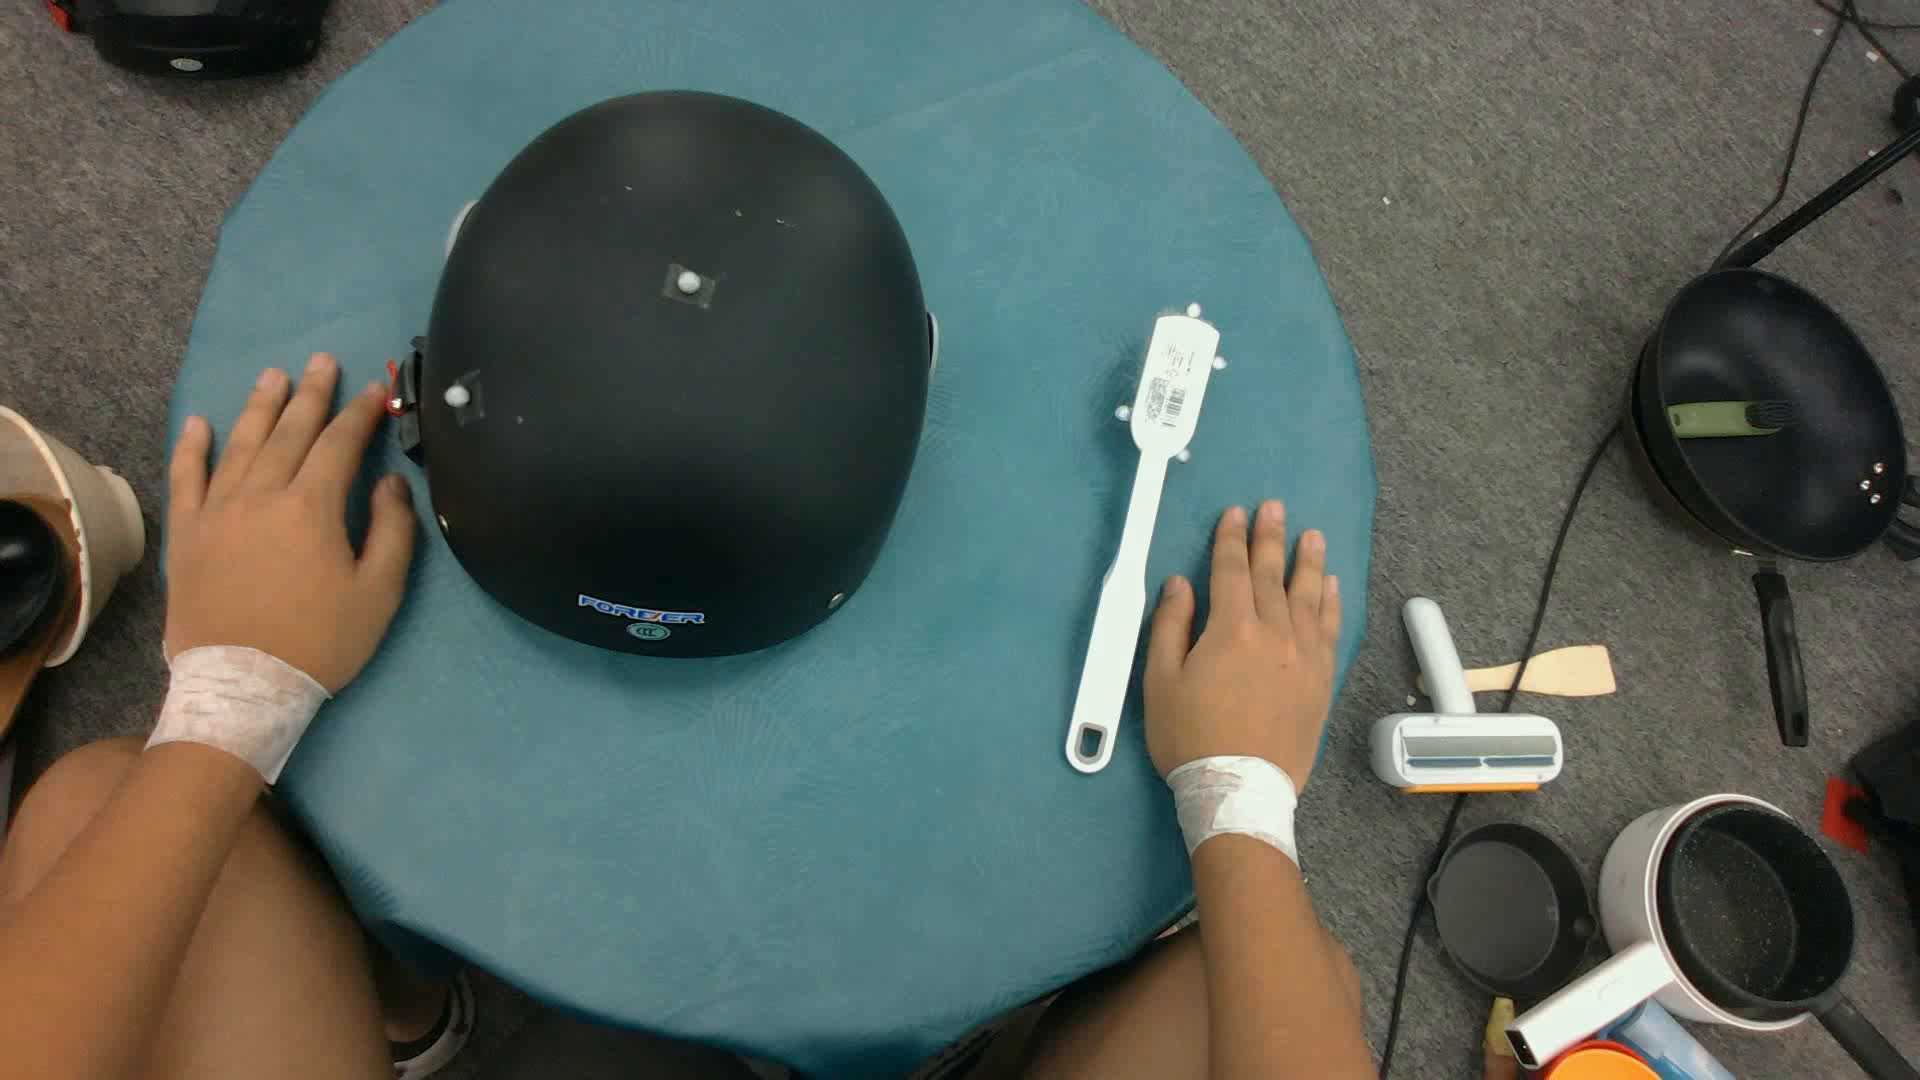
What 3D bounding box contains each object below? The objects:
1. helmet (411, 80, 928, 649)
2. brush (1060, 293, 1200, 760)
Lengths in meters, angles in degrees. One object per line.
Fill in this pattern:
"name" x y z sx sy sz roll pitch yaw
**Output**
"helmet" -0.123 -0.095 0.609 0.230 0.166 0.274 14 69 -11
"brush" 0.083 -0.010 0.700 0.034 0.050 0.244 12 84 0
